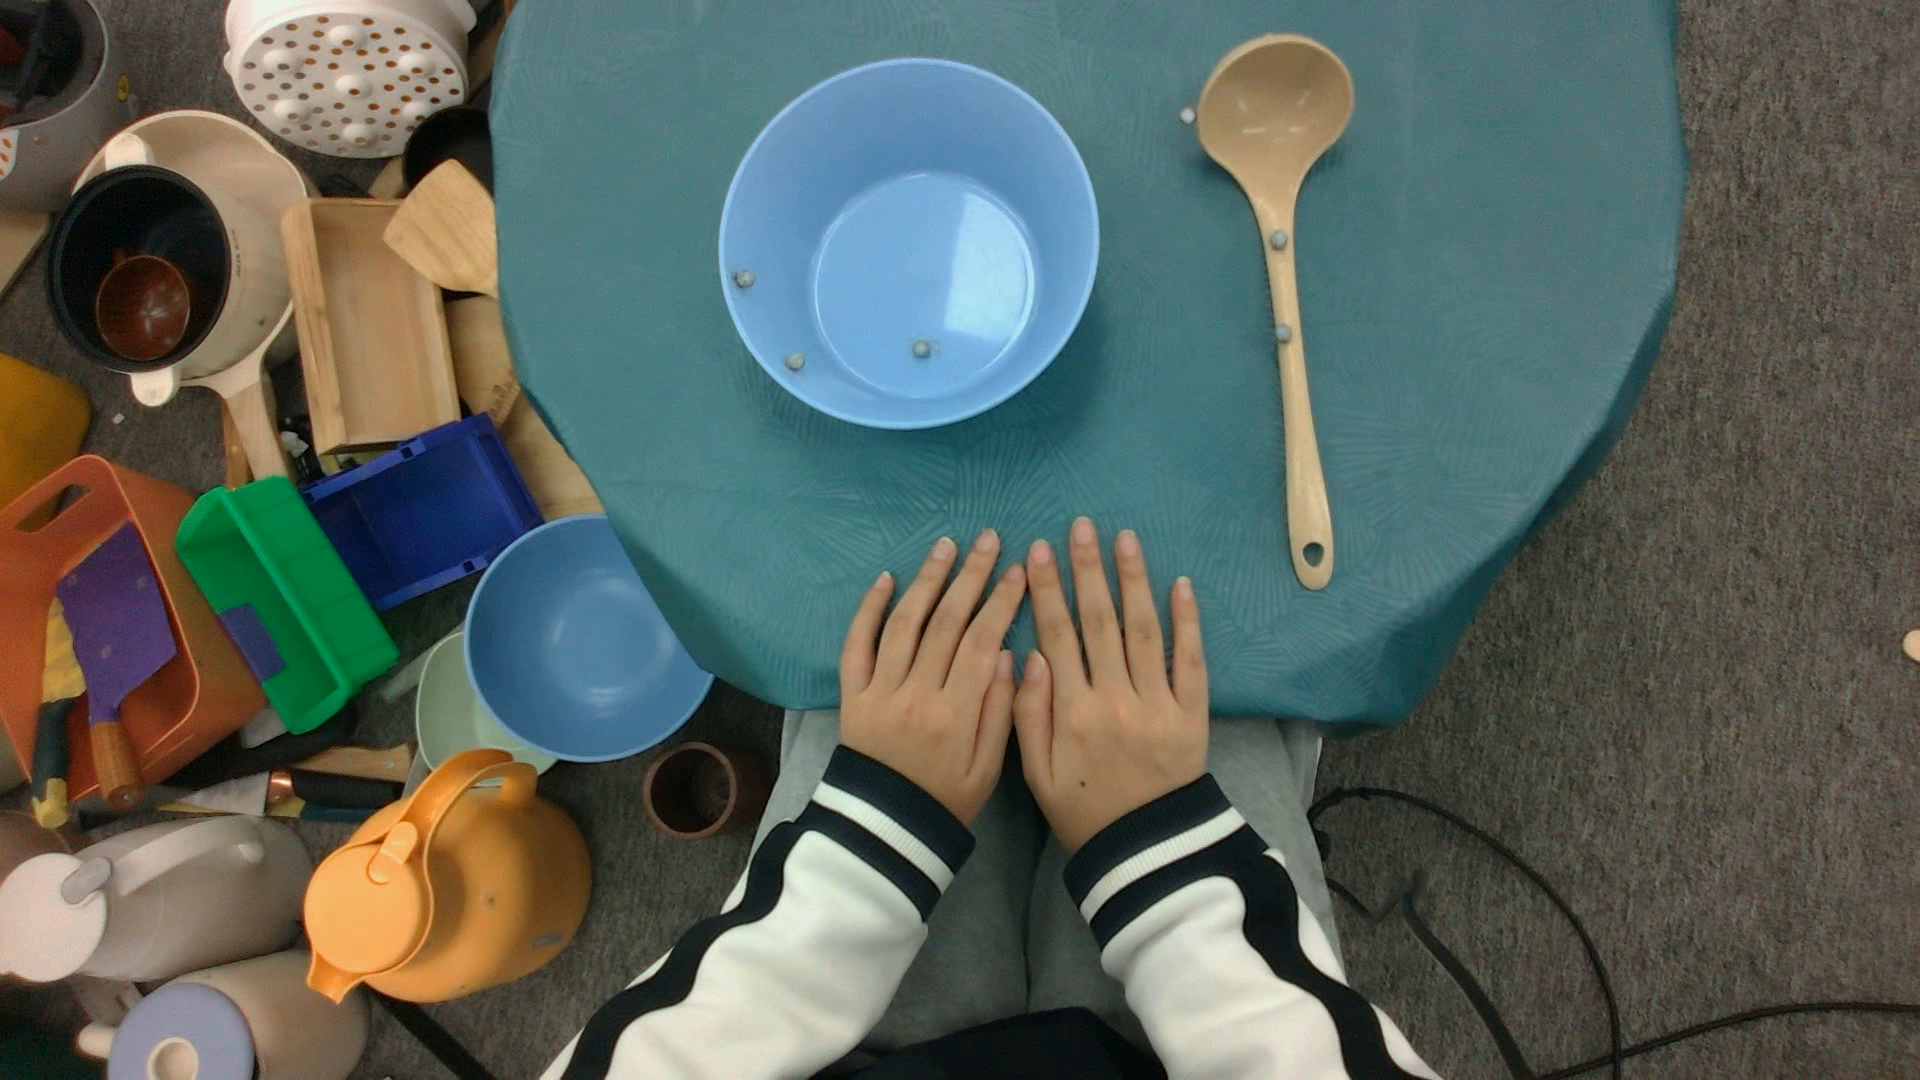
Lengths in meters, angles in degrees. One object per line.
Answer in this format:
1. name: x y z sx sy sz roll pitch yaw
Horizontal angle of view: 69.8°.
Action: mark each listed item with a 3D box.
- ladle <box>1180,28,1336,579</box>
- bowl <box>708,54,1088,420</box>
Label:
1. ladle: 0.152 -0.111 0.638 0.072 0.073 0.255 -7 80 5
2. bowl: -0.026 -0.136 0.660 0.176 0.070 0.176 -1 81 6
